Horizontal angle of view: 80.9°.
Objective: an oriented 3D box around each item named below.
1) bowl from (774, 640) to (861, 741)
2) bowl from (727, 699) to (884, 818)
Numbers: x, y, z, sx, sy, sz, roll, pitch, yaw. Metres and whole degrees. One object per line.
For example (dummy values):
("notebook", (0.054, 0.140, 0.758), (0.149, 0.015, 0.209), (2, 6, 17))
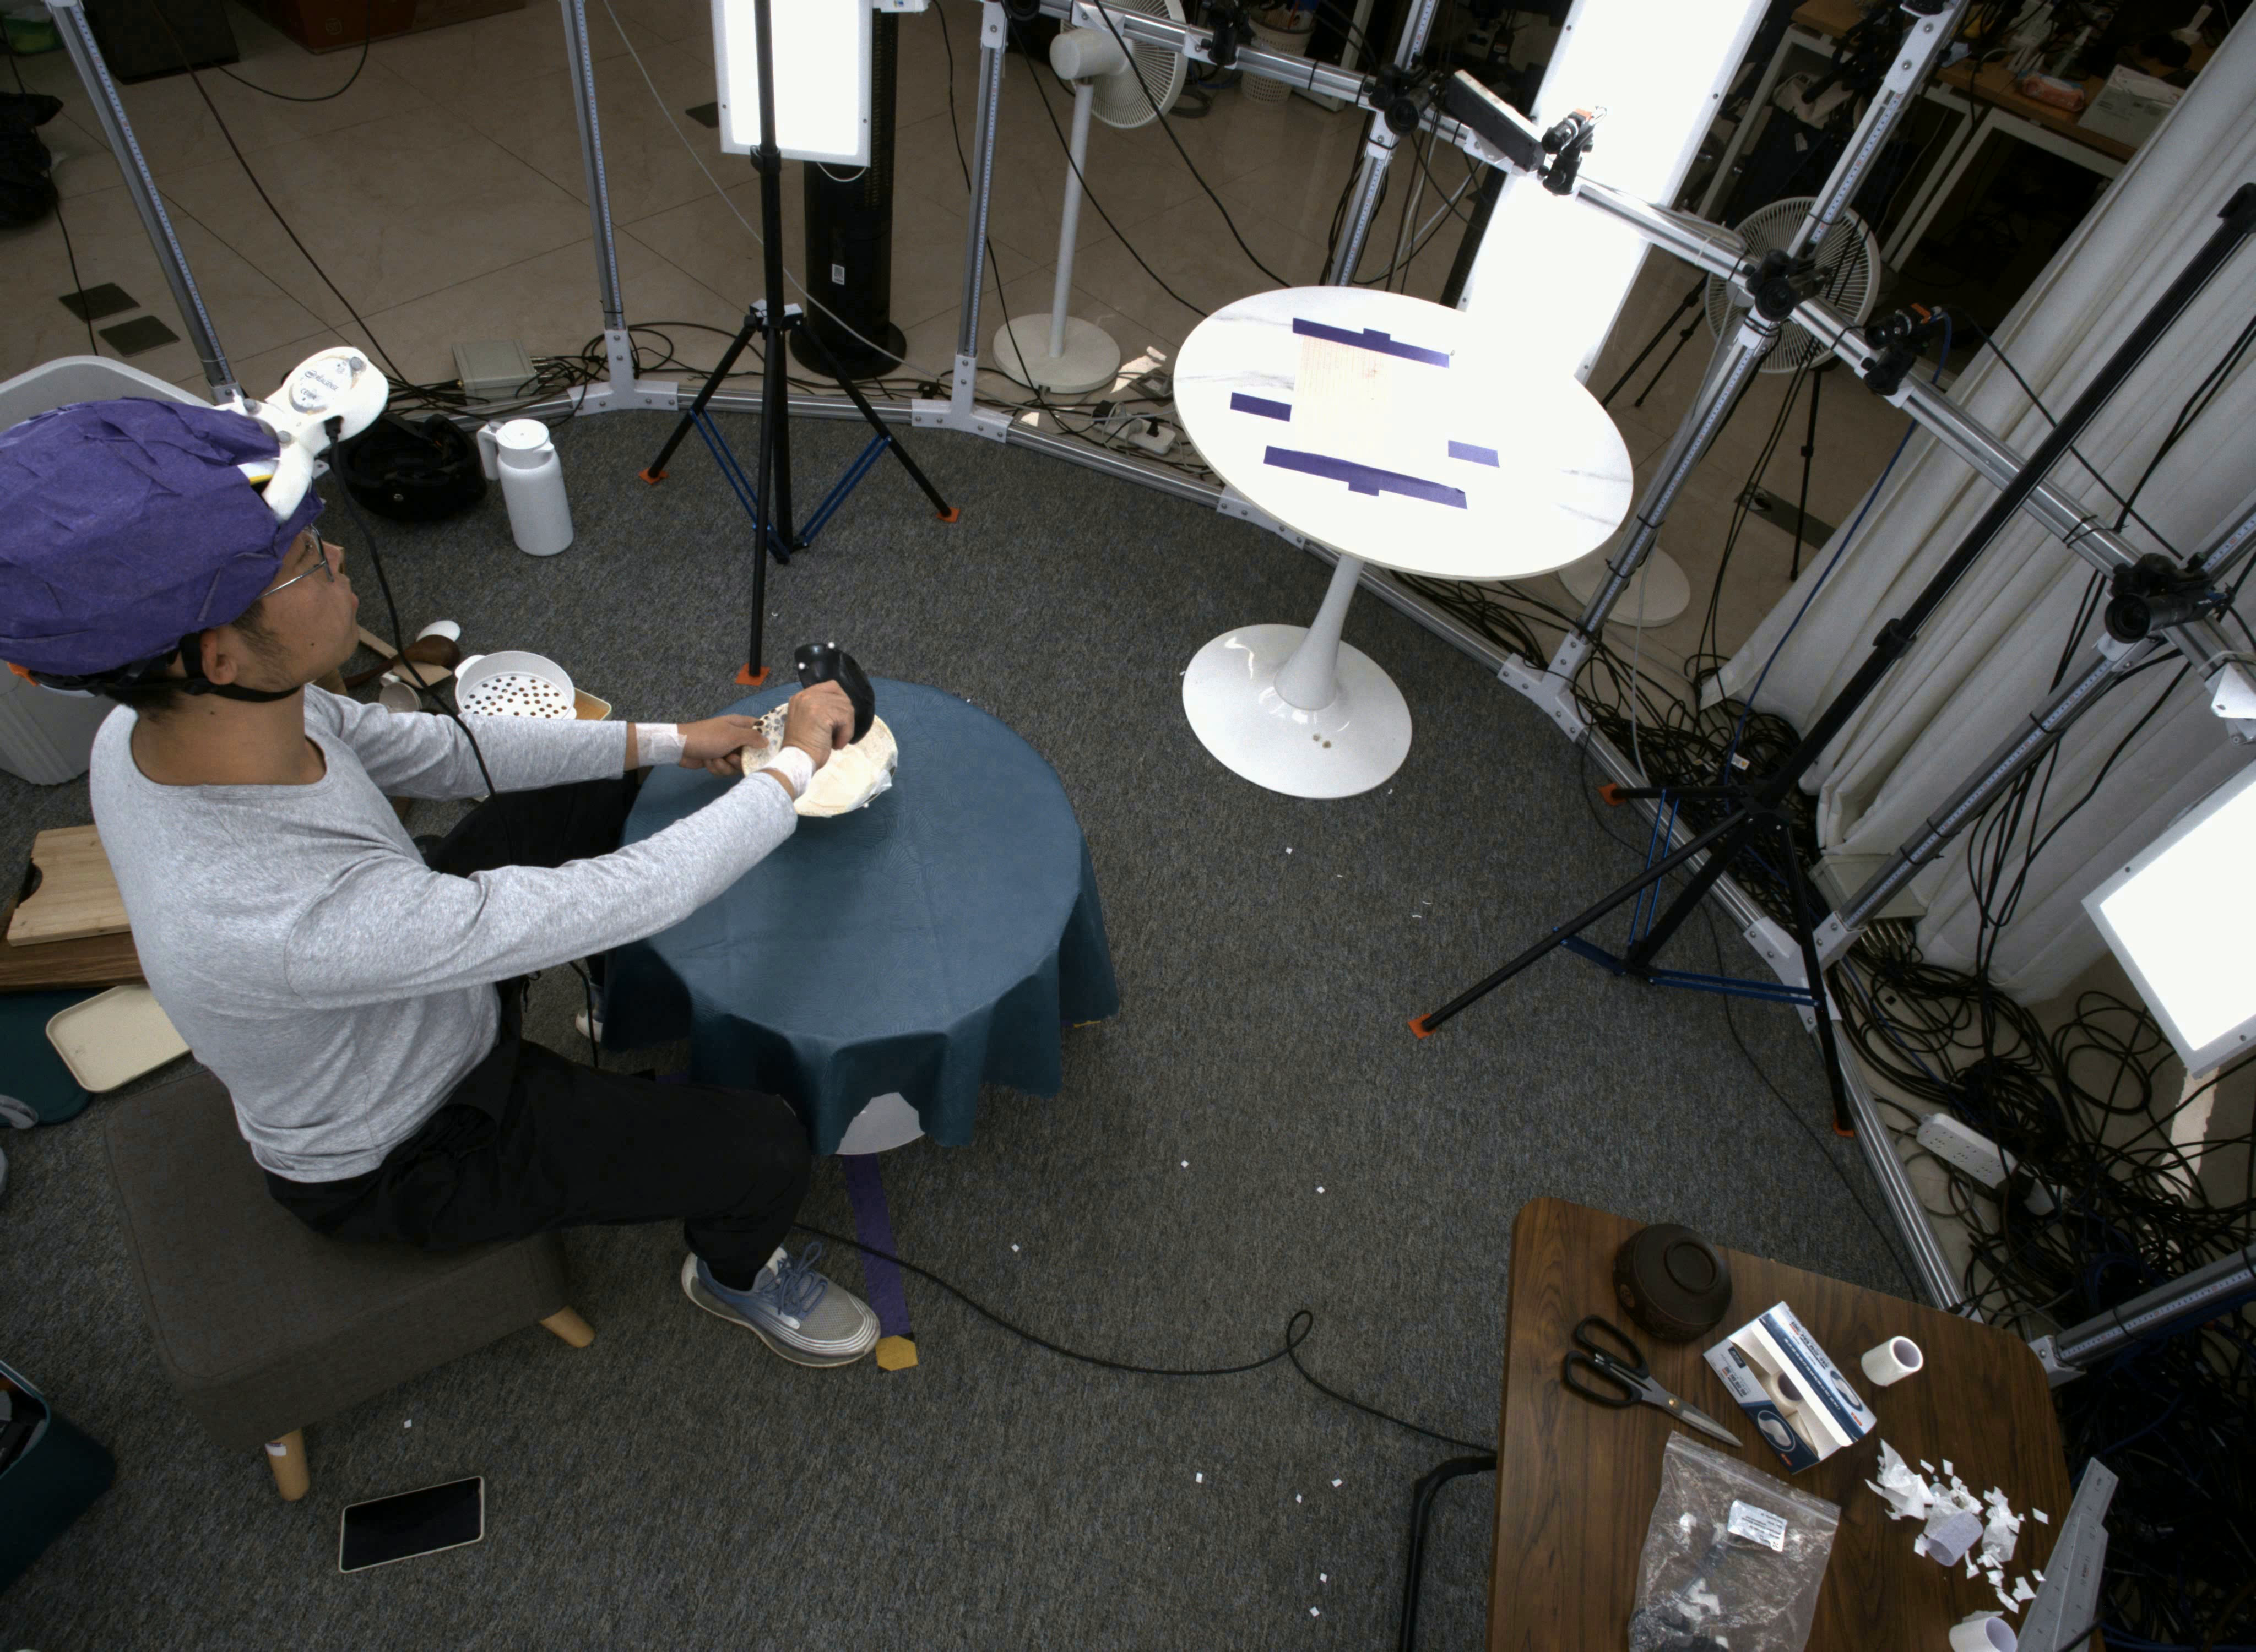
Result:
("bowl", (-0.375, -0.177, 1.606), (0.049, 0.144, 0.136), (-33, 60, 7))
("bowl", (-0.429, -0.071, 1.735), (0.203, 0.079, 0.200), (7, 53, -7))
